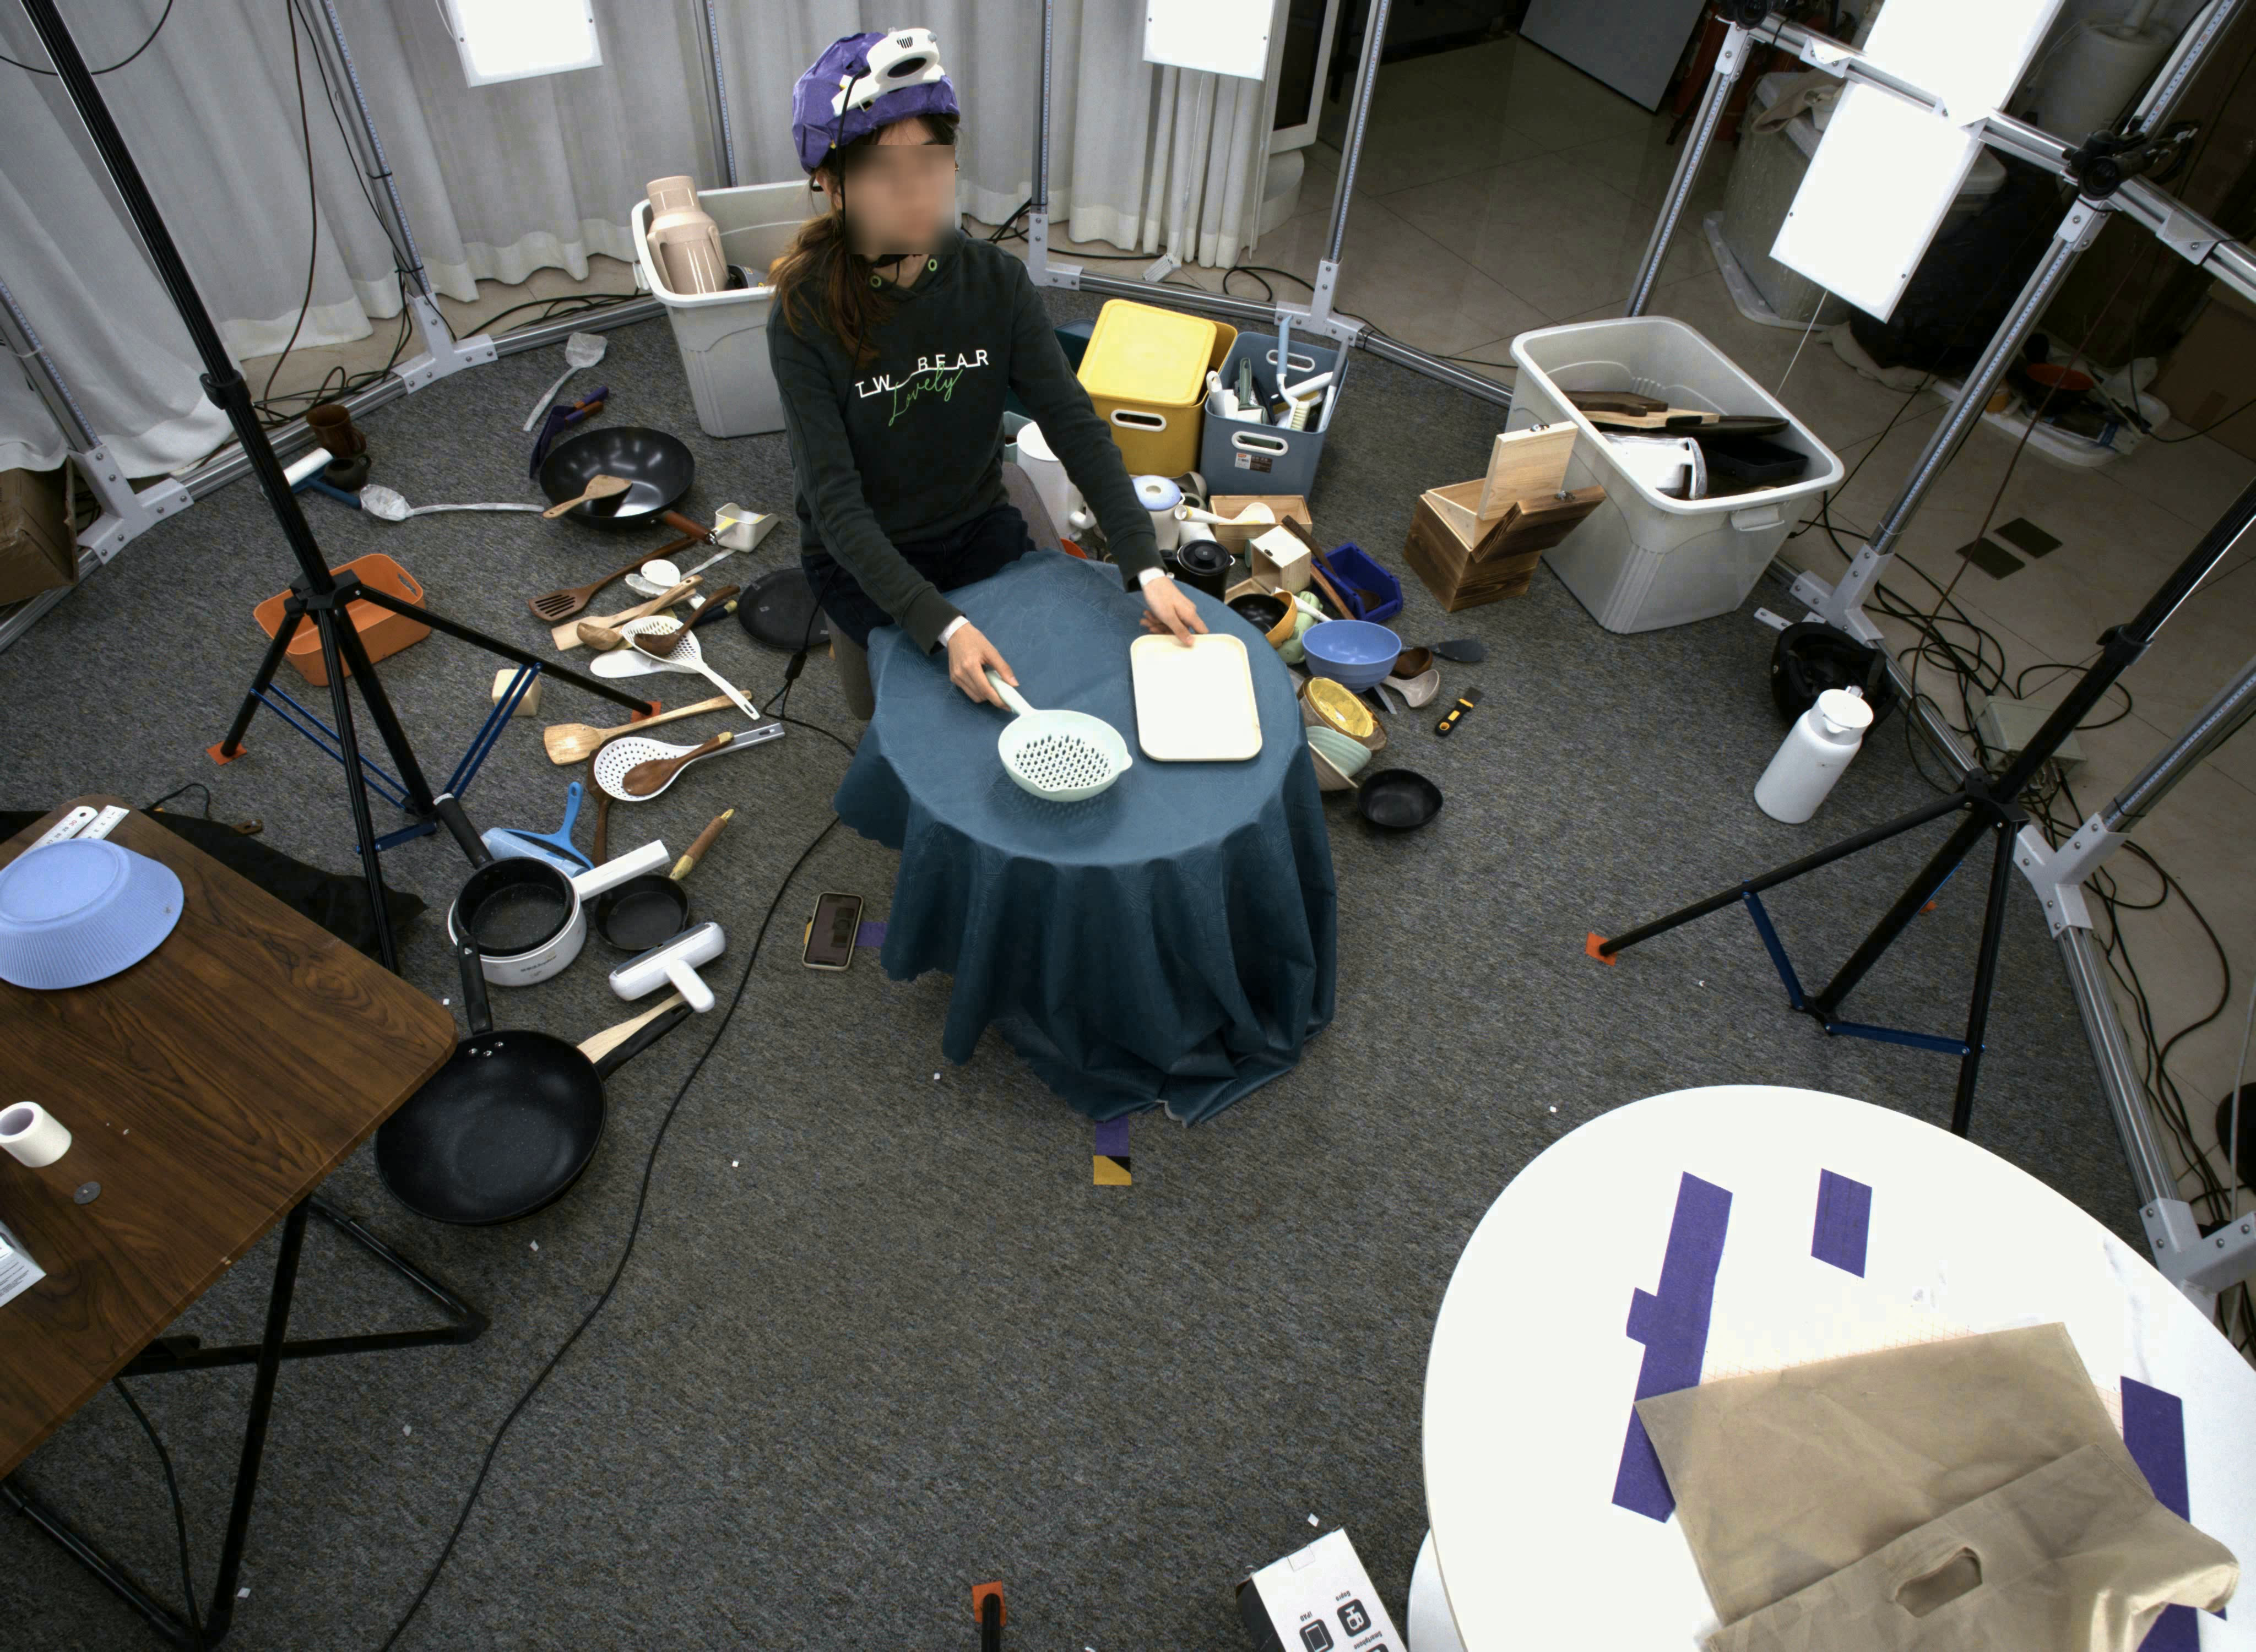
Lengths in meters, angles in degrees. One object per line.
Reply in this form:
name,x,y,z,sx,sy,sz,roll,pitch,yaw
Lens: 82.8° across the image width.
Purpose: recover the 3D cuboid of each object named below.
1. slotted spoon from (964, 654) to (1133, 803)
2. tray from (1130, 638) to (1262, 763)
slotted spoon,-0.137,-0.149,1.761,0.169,0.073,0.366,-17,52,-28
tray,0.094,-0.181,1.832,0.171,0.017,0.246,-1,50,-5
